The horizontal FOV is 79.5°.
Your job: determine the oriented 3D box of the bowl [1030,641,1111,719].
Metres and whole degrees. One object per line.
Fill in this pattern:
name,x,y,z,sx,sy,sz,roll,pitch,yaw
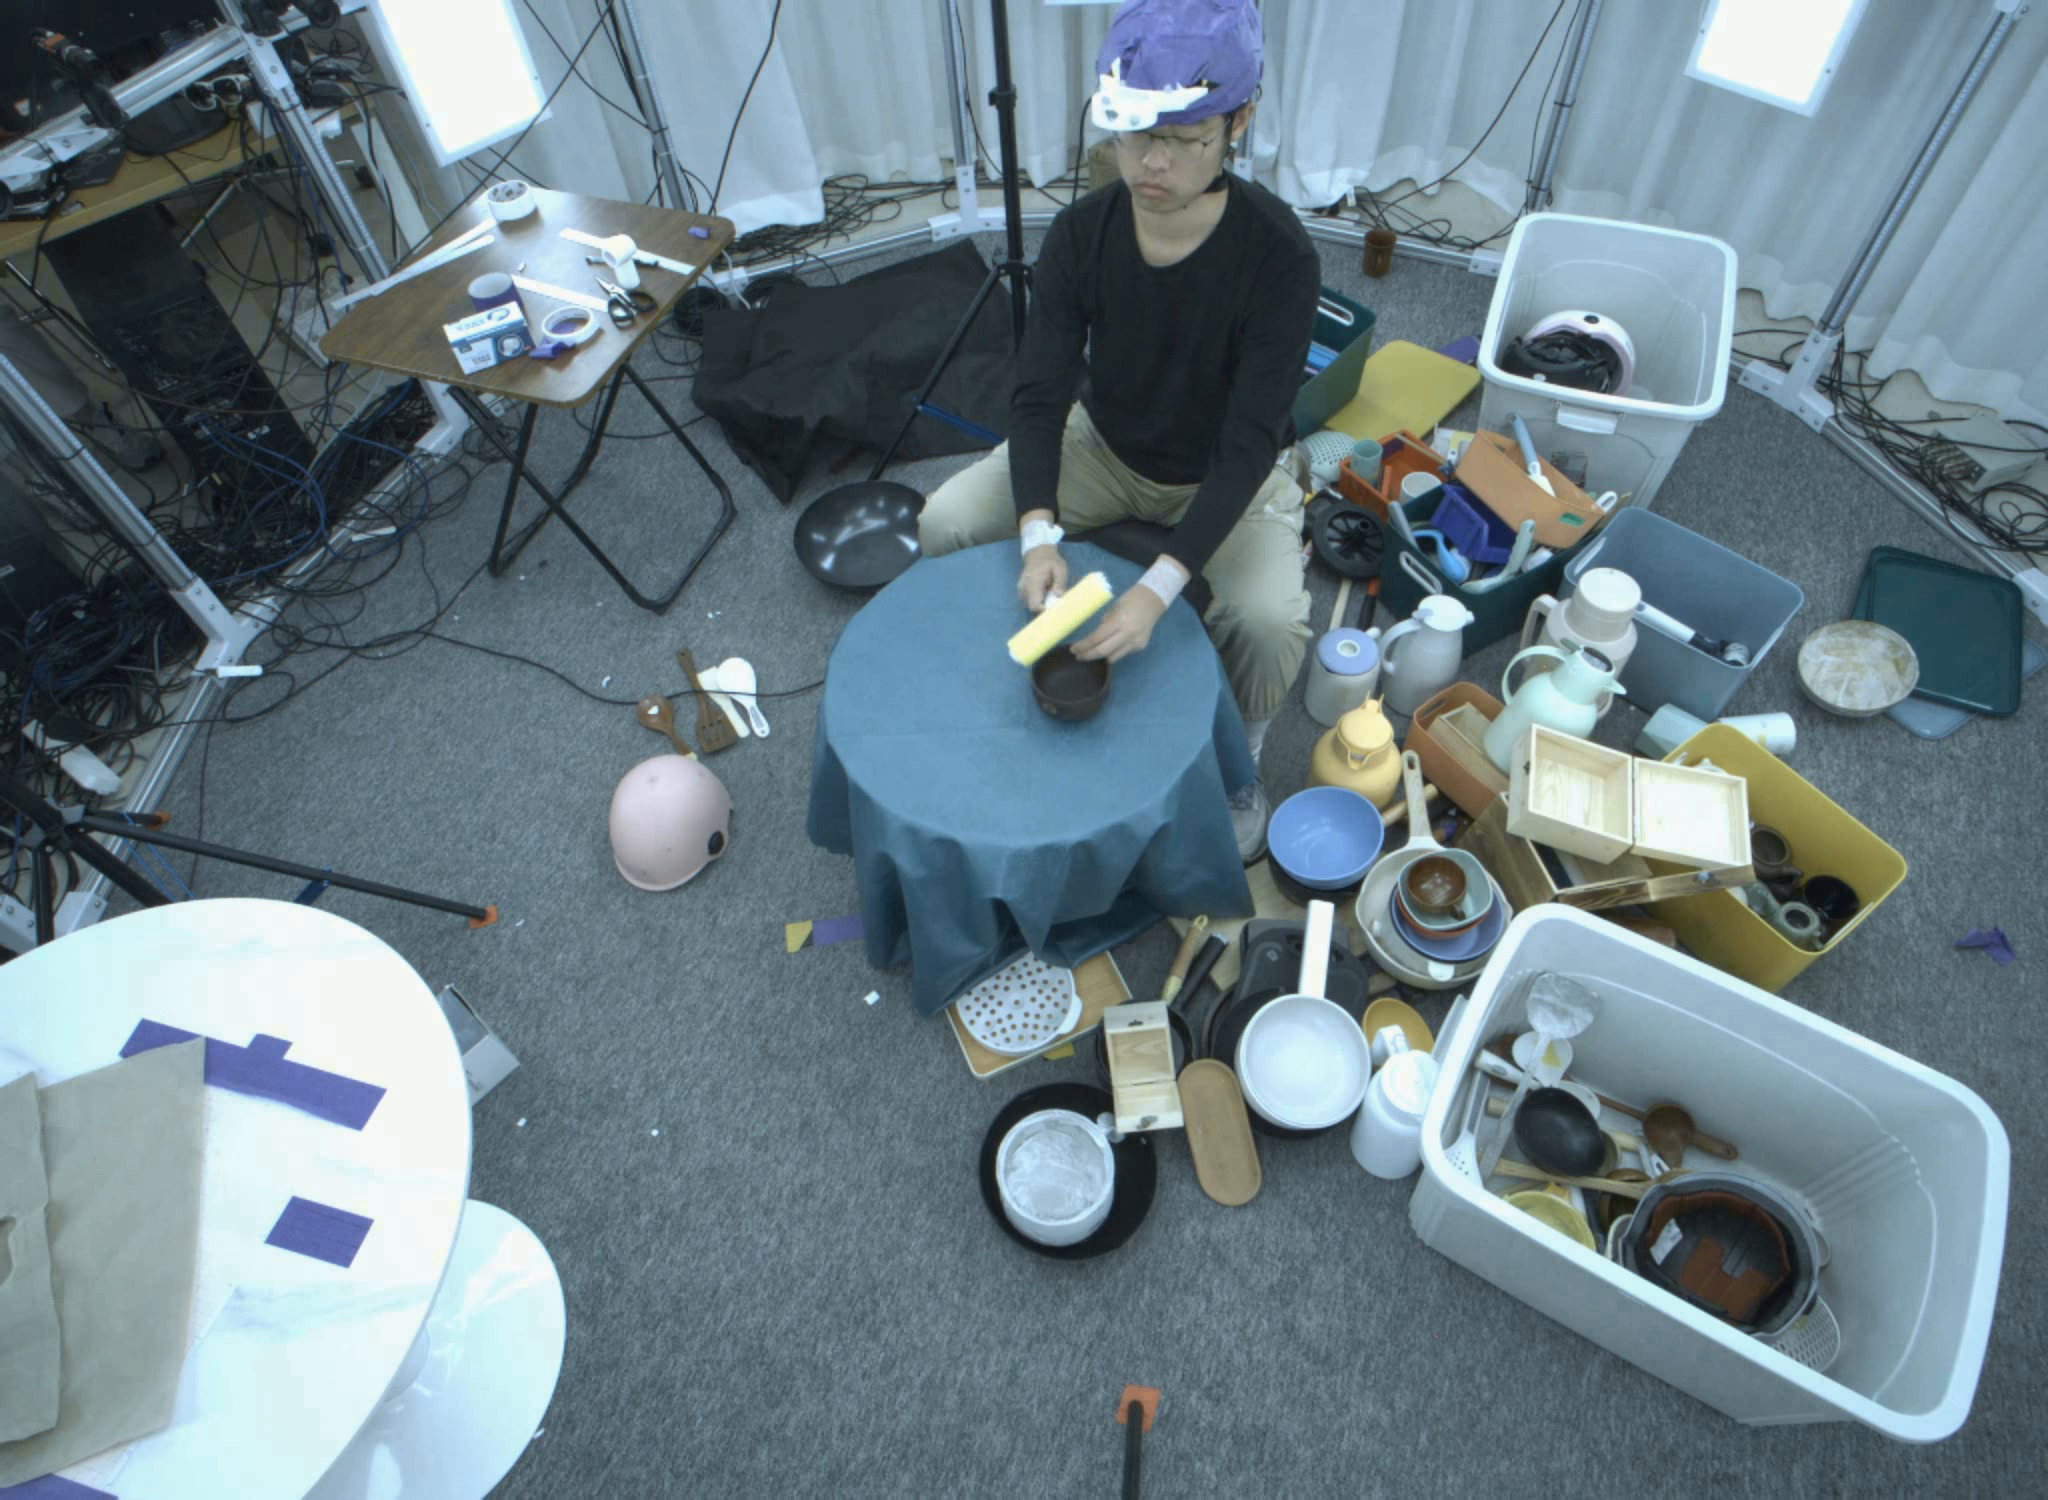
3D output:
bowl,0.068,-0.095,1.806,0.118,0.070,0.117,0,56,2

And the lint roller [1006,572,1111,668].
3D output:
lint roller,0.032,-0.224,1.831,0.173,0.052,0.188,-39,36,10
